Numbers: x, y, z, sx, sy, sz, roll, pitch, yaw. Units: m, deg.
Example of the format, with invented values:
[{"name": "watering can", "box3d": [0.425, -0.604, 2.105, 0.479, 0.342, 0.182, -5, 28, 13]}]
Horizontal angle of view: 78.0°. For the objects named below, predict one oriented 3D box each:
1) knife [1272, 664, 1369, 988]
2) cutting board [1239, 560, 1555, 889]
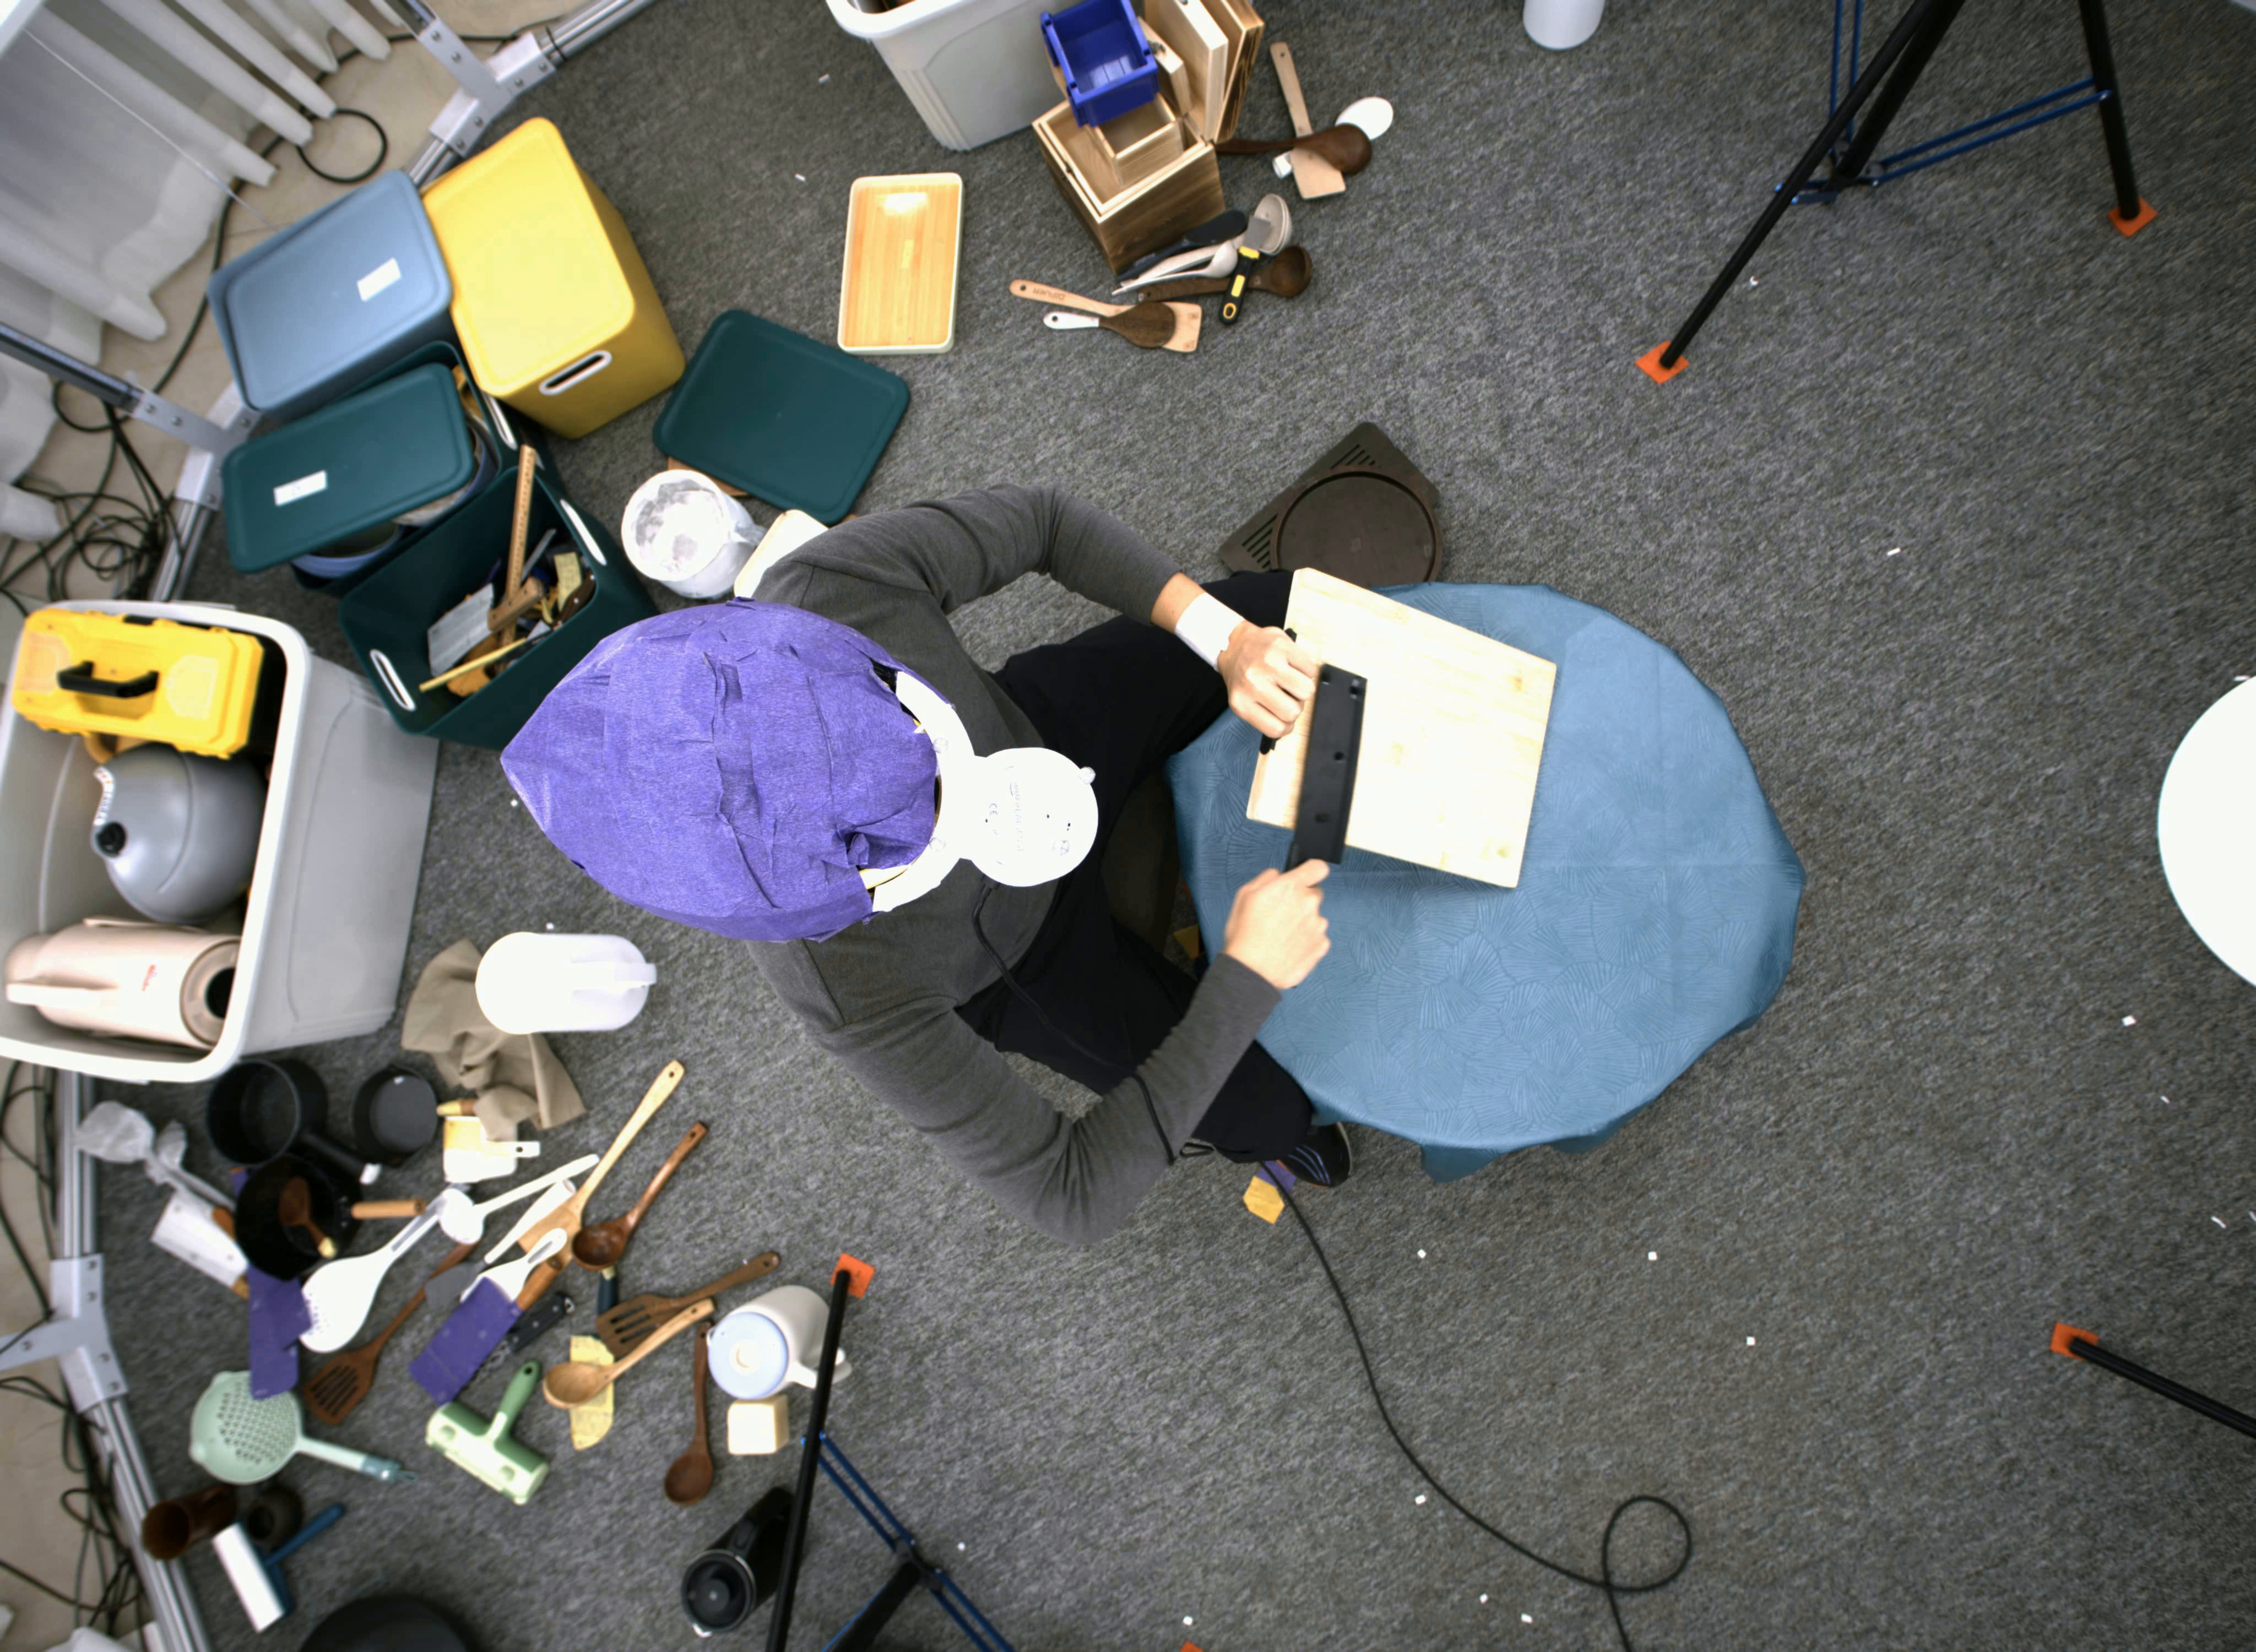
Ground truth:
[{"name": "knife", "box3d": [0.180, -0.001, 1.284, 0.021, 0.081, 0.301, 8, 83, 55]}, {"name": "cutting board", "box3d": [0.273, -0.091, 1.347, 0.348, 0.023, 0.250, 12, 88, -30]}]
